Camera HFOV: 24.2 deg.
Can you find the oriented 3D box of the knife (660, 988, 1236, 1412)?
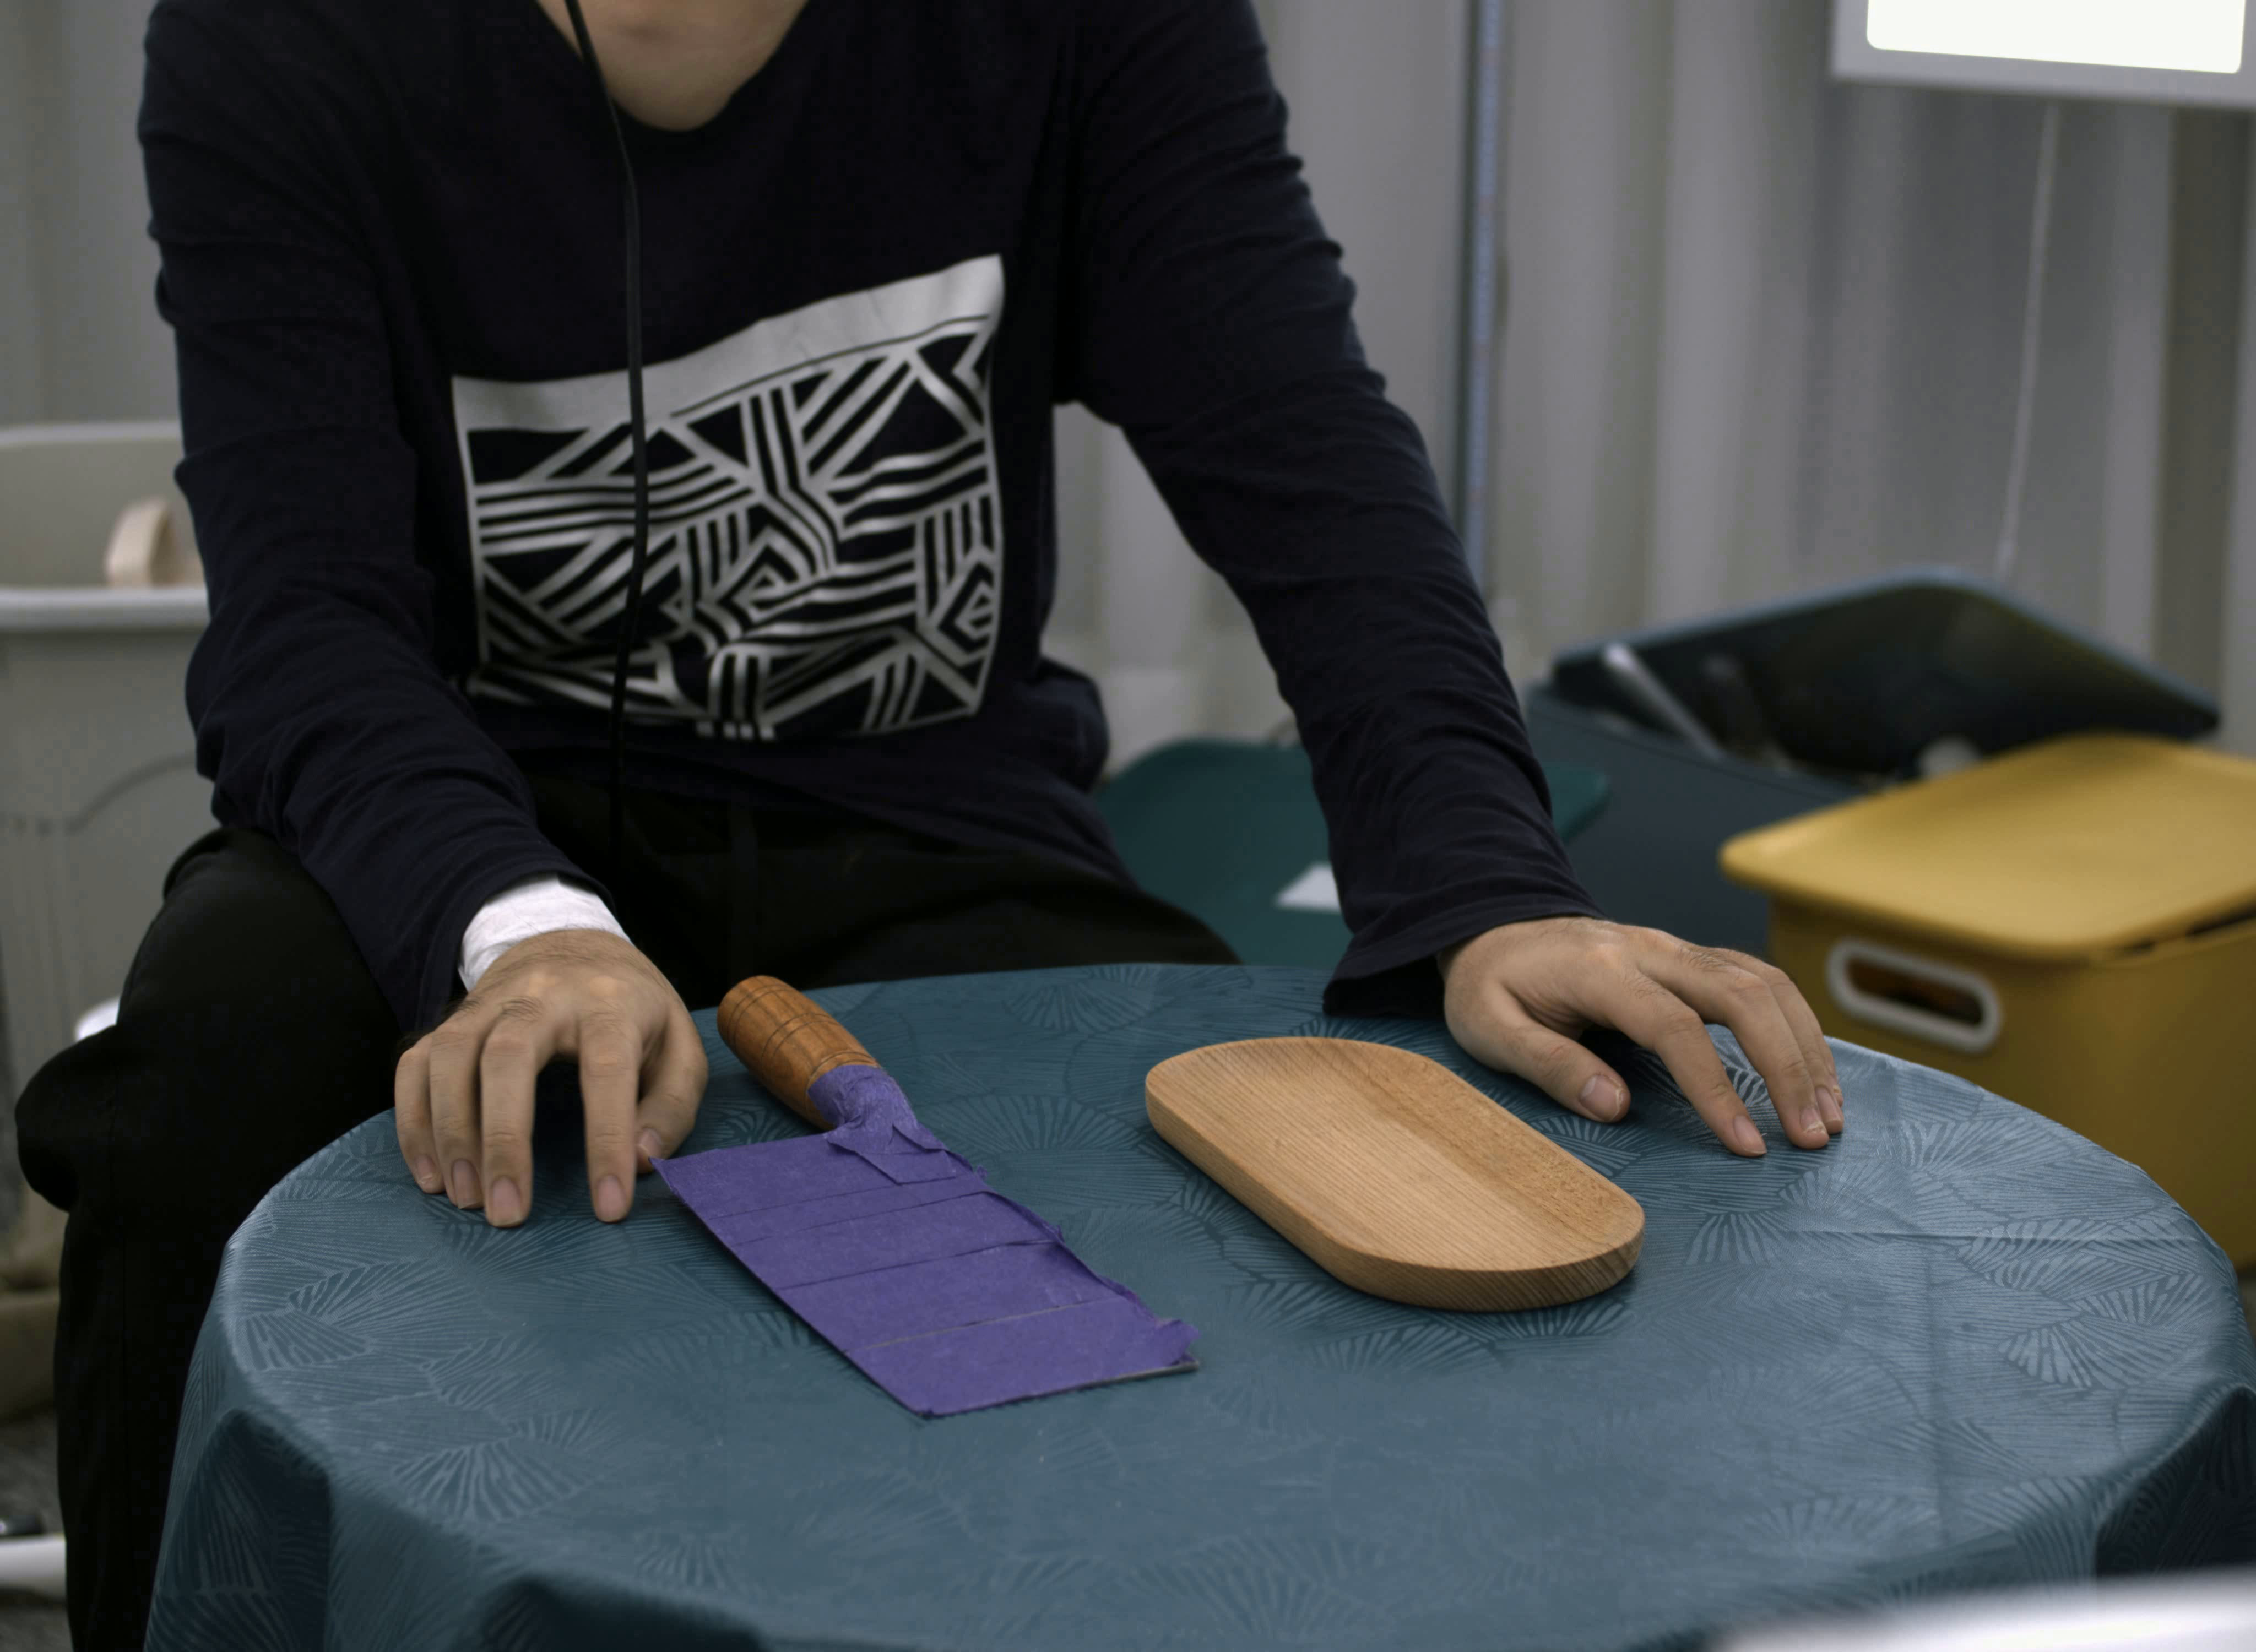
[{"bbox_3d":[-0.083,0.109,1.586,0.104,0.032,0.311,-7,17,-26],"label":"knife"}]

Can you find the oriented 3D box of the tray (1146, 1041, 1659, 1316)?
[{"bbox_3d":[0.081,0.106,1.621,0.102,0.020,0.228,-7,18,-22],"label":"tray"}]
